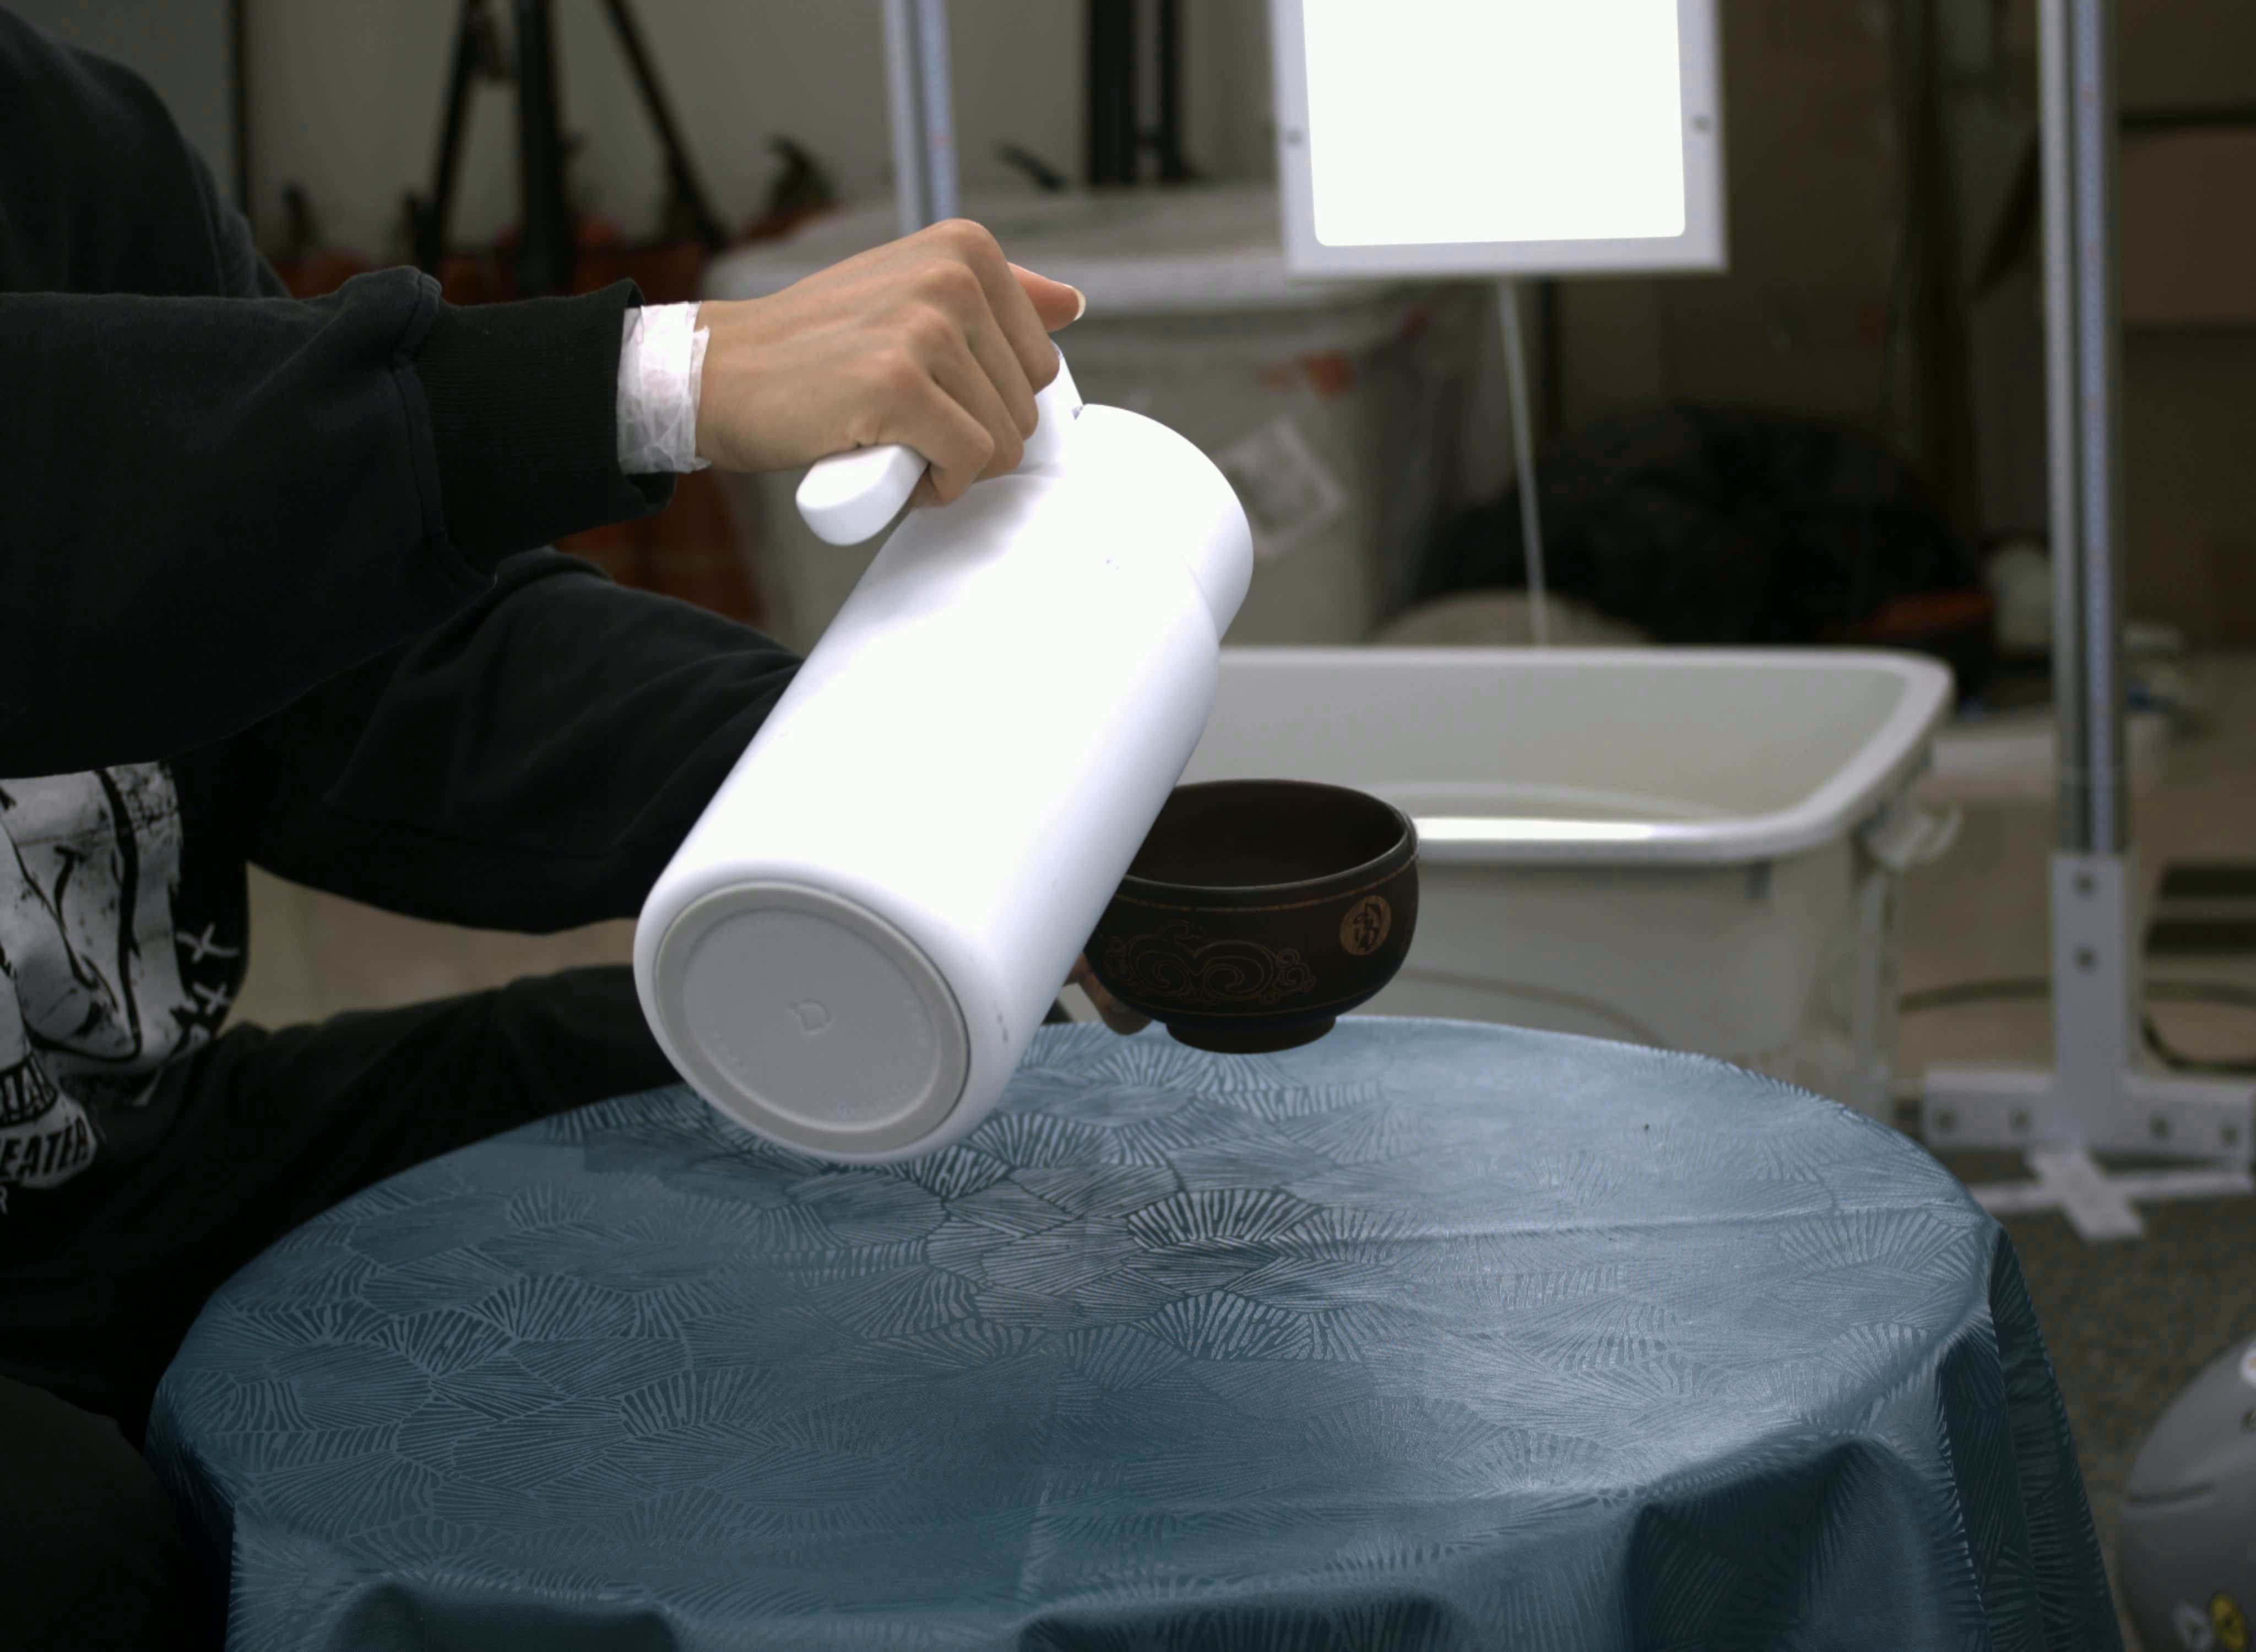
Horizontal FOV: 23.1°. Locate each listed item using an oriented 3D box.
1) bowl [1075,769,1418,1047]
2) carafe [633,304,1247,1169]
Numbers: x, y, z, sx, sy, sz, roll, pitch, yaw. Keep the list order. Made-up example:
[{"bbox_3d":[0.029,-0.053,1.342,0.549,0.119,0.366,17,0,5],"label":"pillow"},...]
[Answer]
[{"bbox_3d":[0.039,0.031,1.831,0.118,0.070,0.118,-5,19,0],"label":"bowl"},{"bbox_3d":[-0.054,-0.034,1.666,0.126,0.172,0.264,-5,34,29],"label":"carafe"}]
